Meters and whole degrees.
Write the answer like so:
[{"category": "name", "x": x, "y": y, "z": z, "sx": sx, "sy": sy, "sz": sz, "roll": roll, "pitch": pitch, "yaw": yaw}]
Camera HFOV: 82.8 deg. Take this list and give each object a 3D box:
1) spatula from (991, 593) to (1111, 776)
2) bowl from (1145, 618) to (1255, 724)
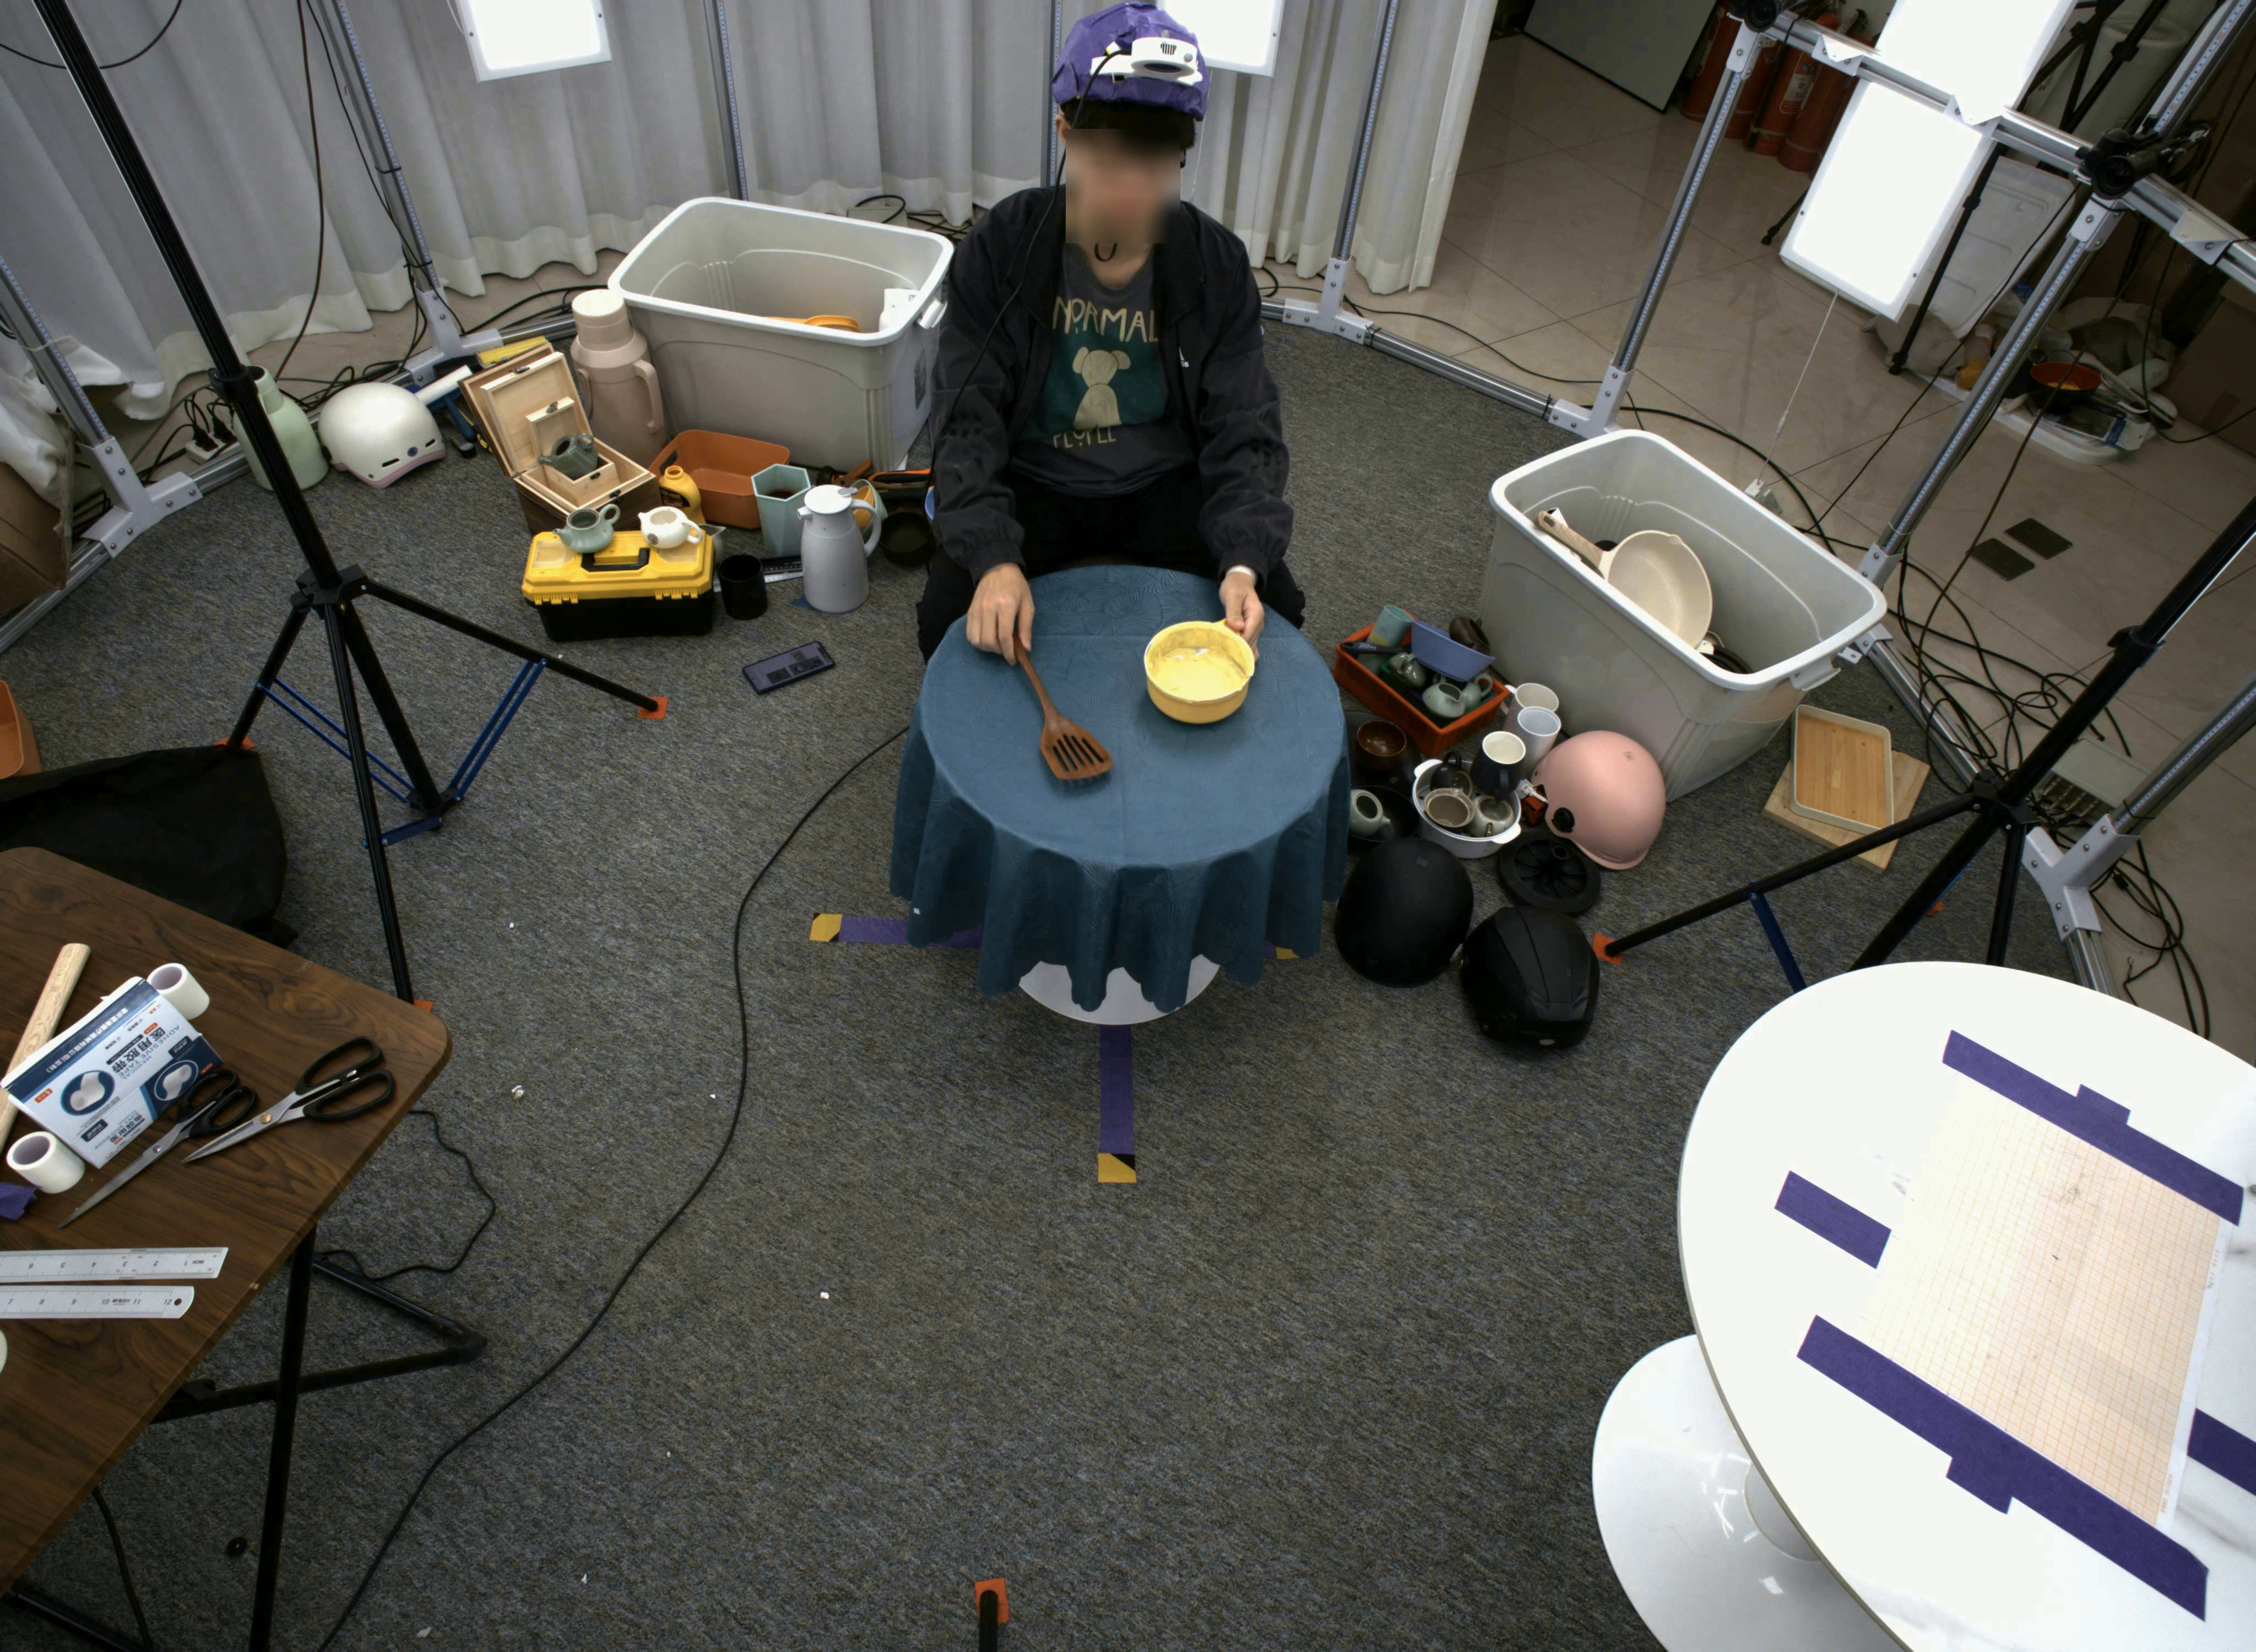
[{"category": "spatula", "x": -0.127, "y": -0.204, "z": 1.813, "sx": 0.085, "sy": 0.023, "sz": 0.396, "roll": -12, "pitch": 51, "yaw": -19}, {"category": "bowl", "x": 0.107, "y": -0.221, "z": 1.817, "sx": 0.154, "sy": 0.072, "sz": 0.182, "roll": 22, "pitch": 55, "yaw": 18}]
